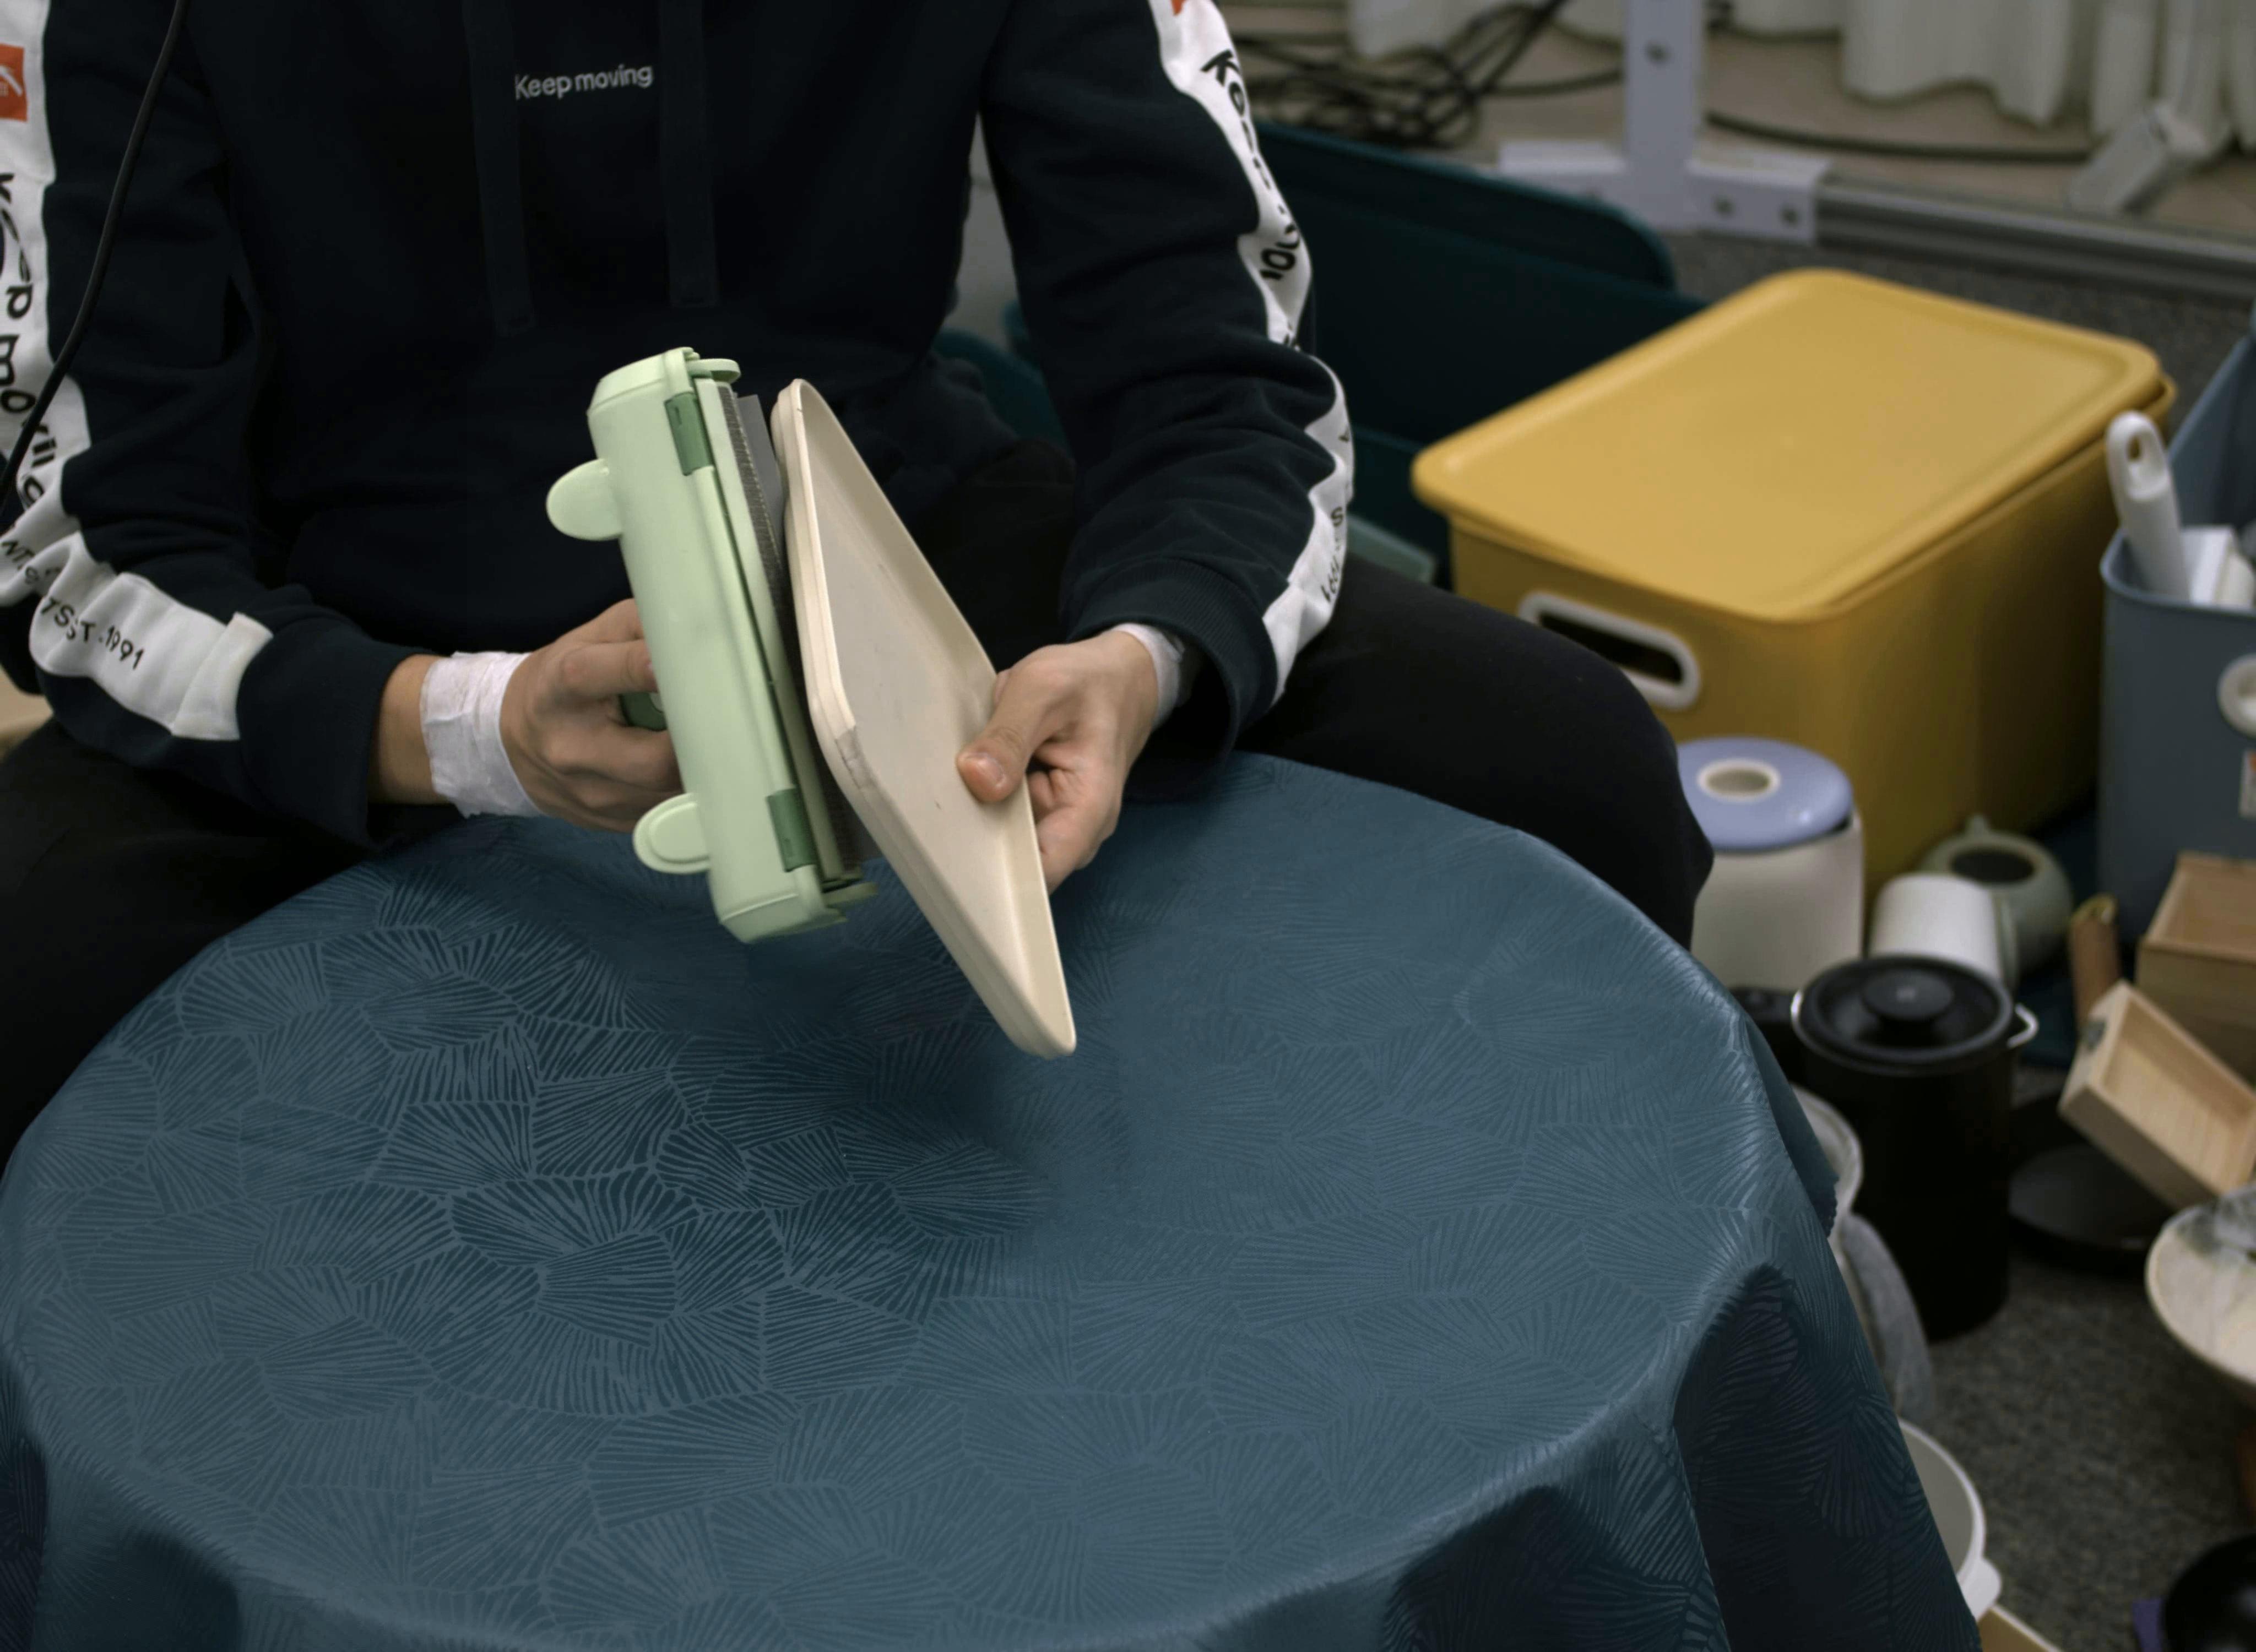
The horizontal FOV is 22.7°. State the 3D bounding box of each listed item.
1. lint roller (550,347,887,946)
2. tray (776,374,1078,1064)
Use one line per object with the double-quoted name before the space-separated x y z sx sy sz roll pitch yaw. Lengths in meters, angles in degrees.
"lint roller" -0.161 -0.047 1.916 0.082 0.200 0.181 -12 -7 -30
"tray" -0.071 -0.036 1.901 0.017 0.169 0.243 -25 34 9
